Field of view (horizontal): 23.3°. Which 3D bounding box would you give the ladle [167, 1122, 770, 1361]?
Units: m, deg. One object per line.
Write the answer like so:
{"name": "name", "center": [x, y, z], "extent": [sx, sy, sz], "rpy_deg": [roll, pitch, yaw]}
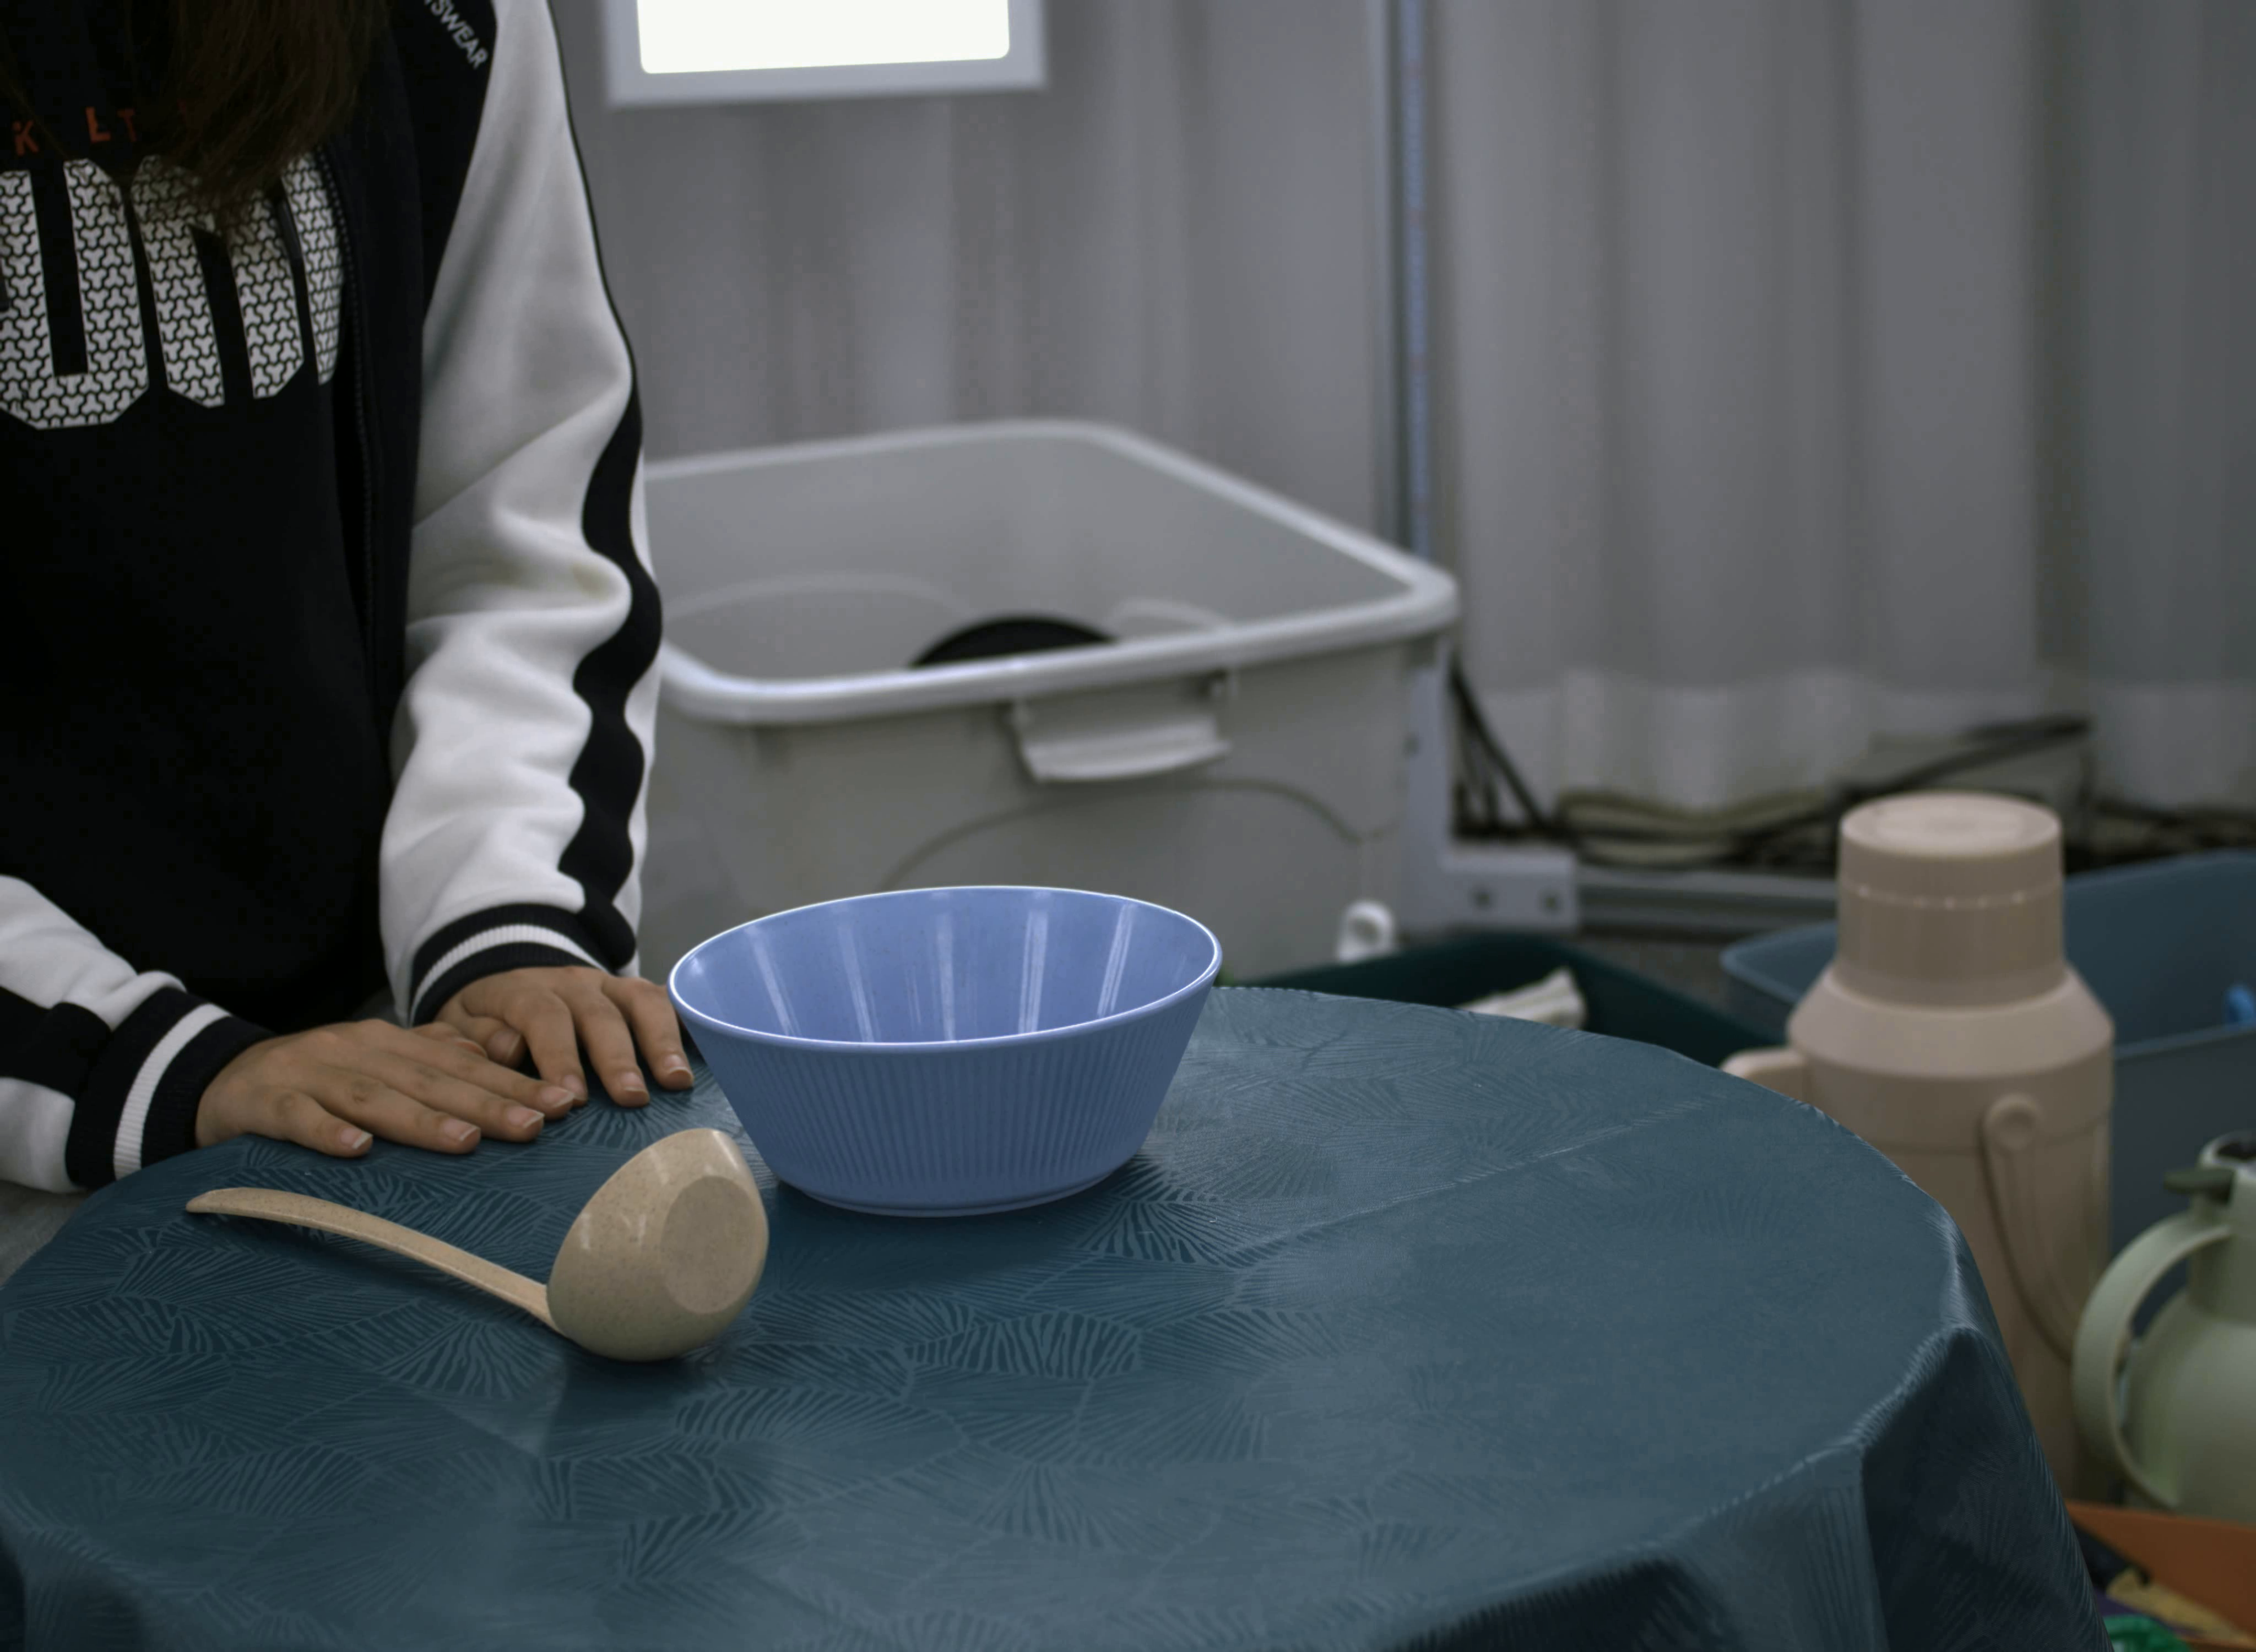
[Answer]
{"name": "ladle", "center": [-0.210, 0.106, 1.647], "extent": [0.256, 0.072, 0.072], "rpy_deg": [10, 19, 41]}

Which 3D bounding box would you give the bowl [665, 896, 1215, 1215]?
{"name": "bowl", "center": [-0.058, 0.075, 1.740], "extent": [0.175, 0.070, 0.177], "rpy_deg": [-2, 14, 0]}
